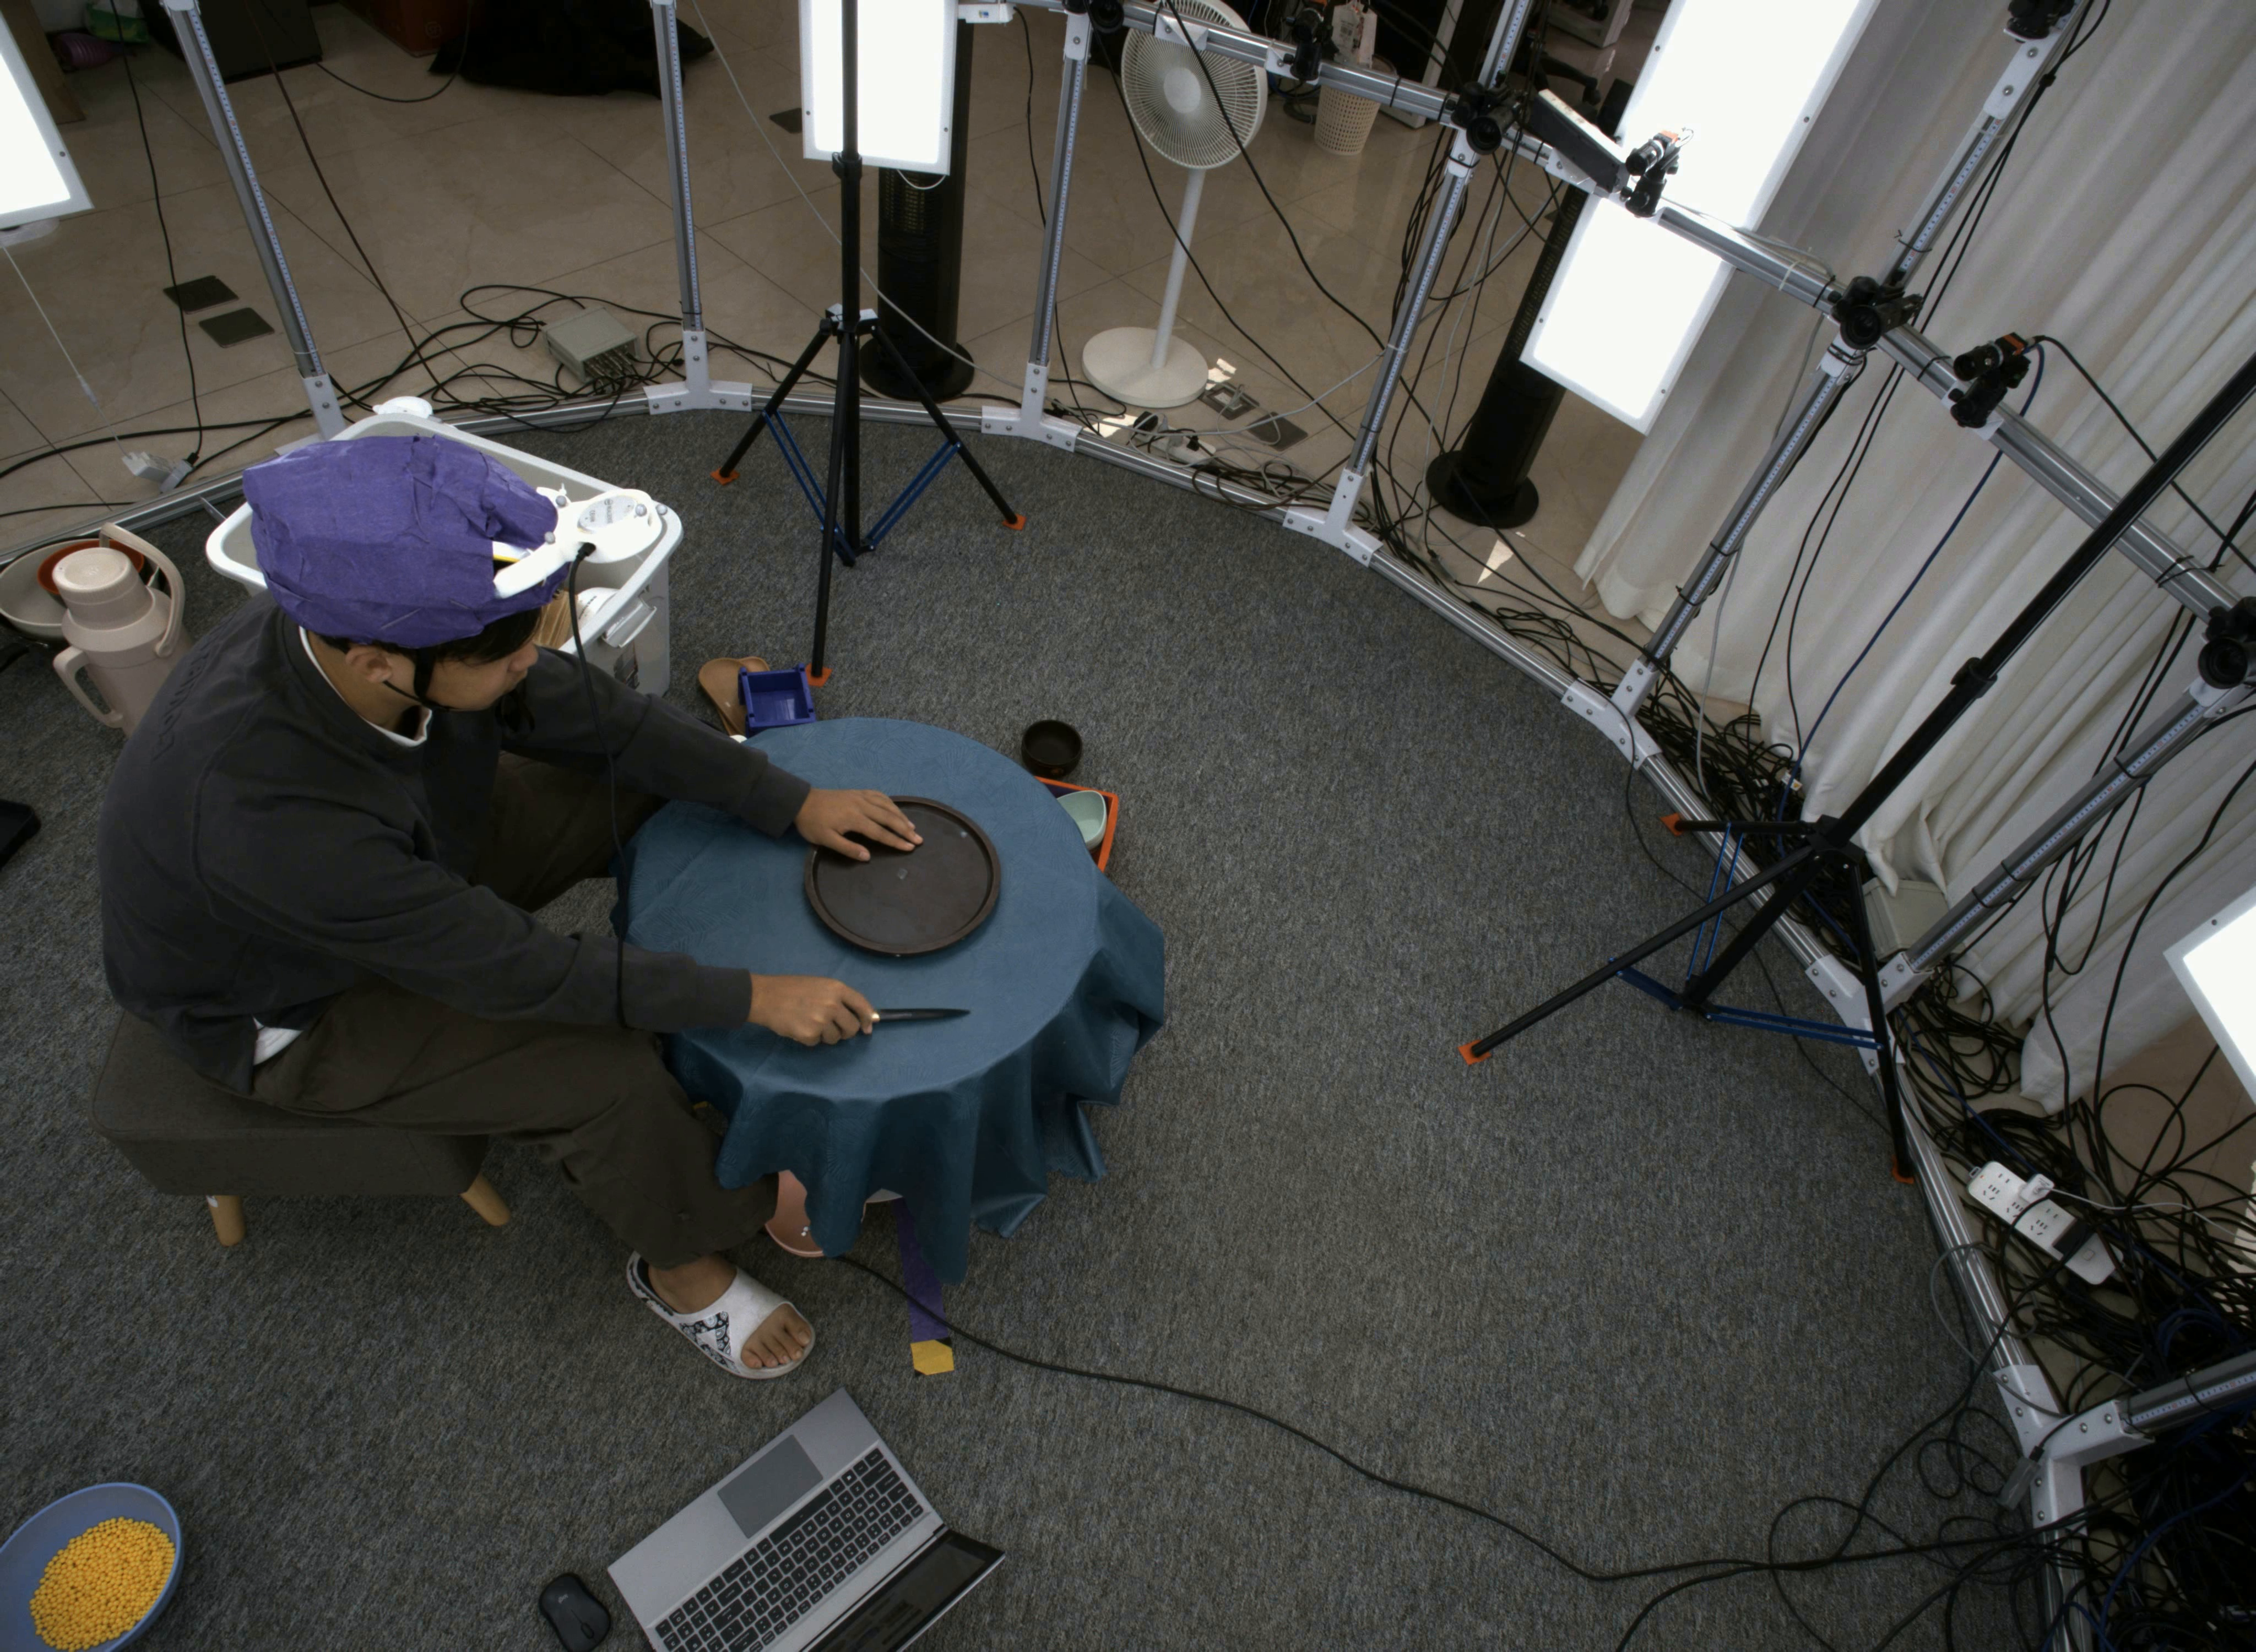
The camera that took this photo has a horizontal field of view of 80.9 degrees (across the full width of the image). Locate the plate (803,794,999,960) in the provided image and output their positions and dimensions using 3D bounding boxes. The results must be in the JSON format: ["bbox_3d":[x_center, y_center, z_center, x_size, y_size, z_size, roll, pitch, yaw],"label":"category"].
[{"bbox_3d":[-0.293,0.063,1.691,0.254,0.029,0.250,7,54,-8],"label":"plate"}]

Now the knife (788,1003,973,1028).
[{"bbox_3d":[-0.297,0.226,1.574,0.226,0.018,0.025,-2,25,-18],"label":"knife"}]
